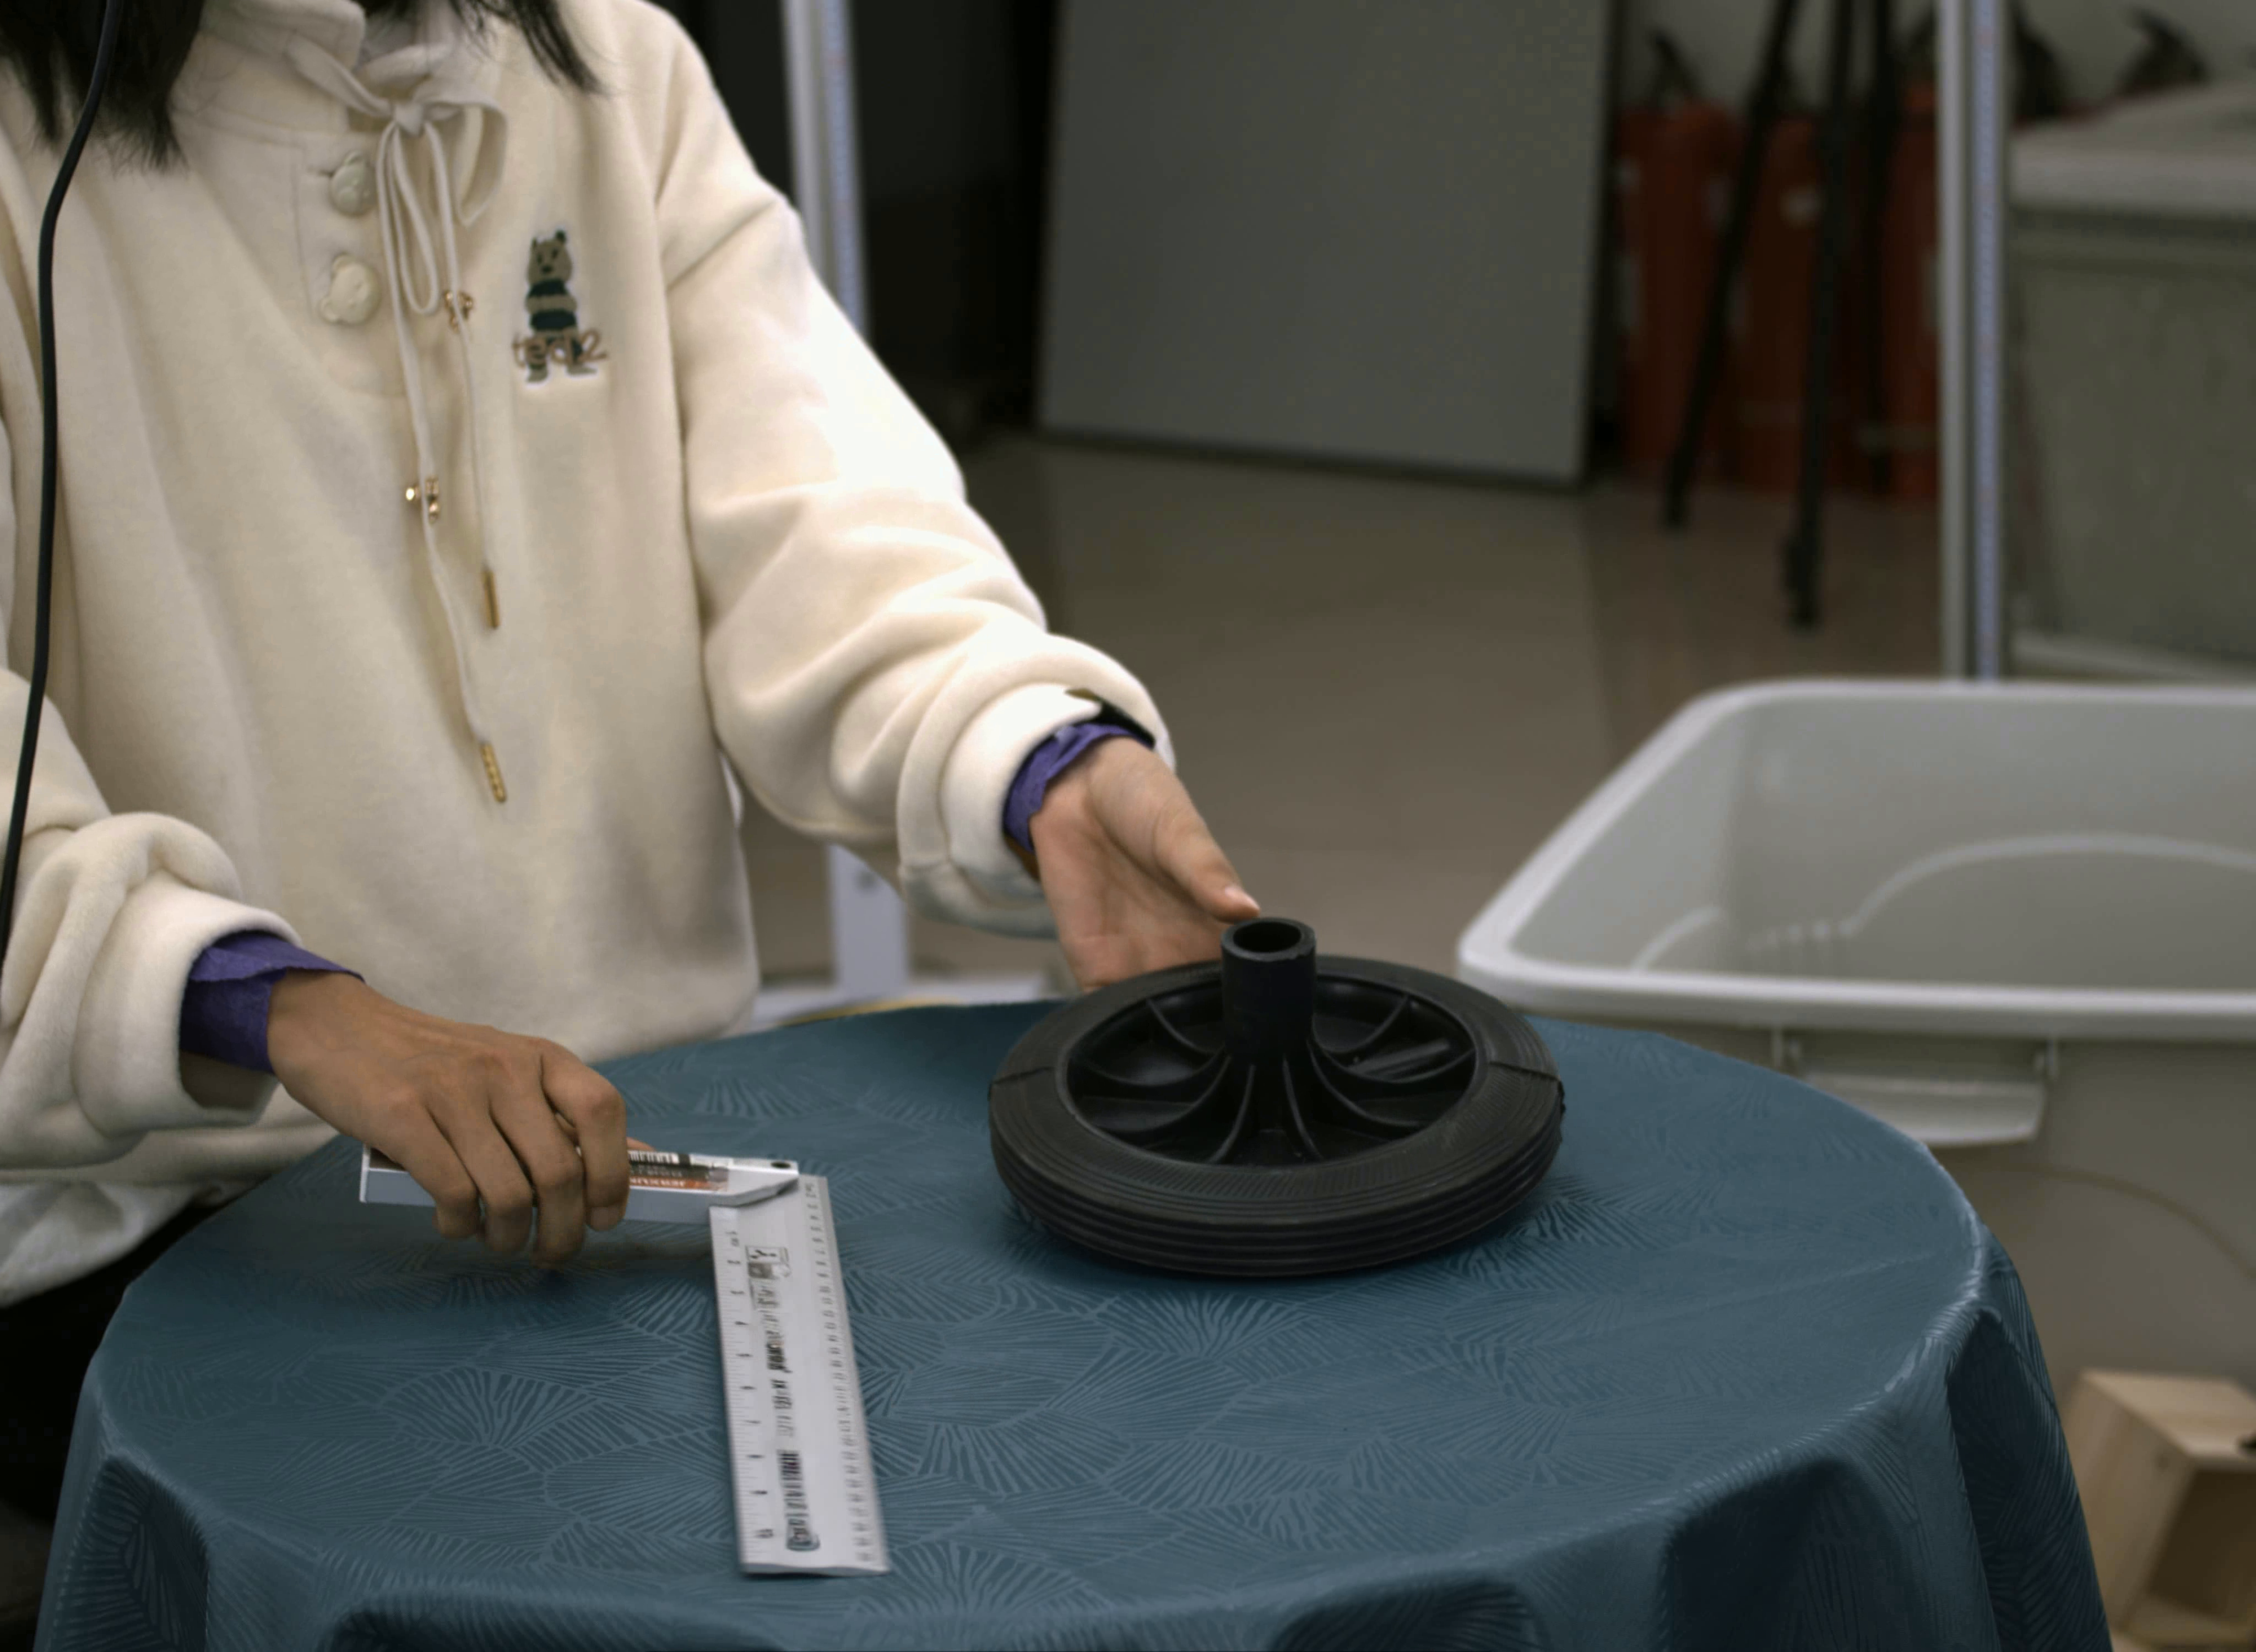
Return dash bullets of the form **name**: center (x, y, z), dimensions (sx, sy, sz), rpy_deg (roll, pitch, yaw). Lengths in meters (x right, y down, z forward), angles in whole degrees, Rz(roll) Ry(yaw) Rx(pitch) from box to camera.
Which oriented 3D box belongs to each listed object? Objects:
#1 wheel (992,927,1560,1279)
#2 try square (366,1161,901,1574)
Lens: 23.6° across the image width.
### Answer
- **wheel**: center (0.048, 0.075, 1.743), dimensions (0.189, 0.080, 0.186), rpy_deg (17, 31, 39)
- **try square**: center (-0.152, 0.157, 1.600), dimensions (0.150, 0.016, 0.314), rpy_deg (1, 16, -7)
